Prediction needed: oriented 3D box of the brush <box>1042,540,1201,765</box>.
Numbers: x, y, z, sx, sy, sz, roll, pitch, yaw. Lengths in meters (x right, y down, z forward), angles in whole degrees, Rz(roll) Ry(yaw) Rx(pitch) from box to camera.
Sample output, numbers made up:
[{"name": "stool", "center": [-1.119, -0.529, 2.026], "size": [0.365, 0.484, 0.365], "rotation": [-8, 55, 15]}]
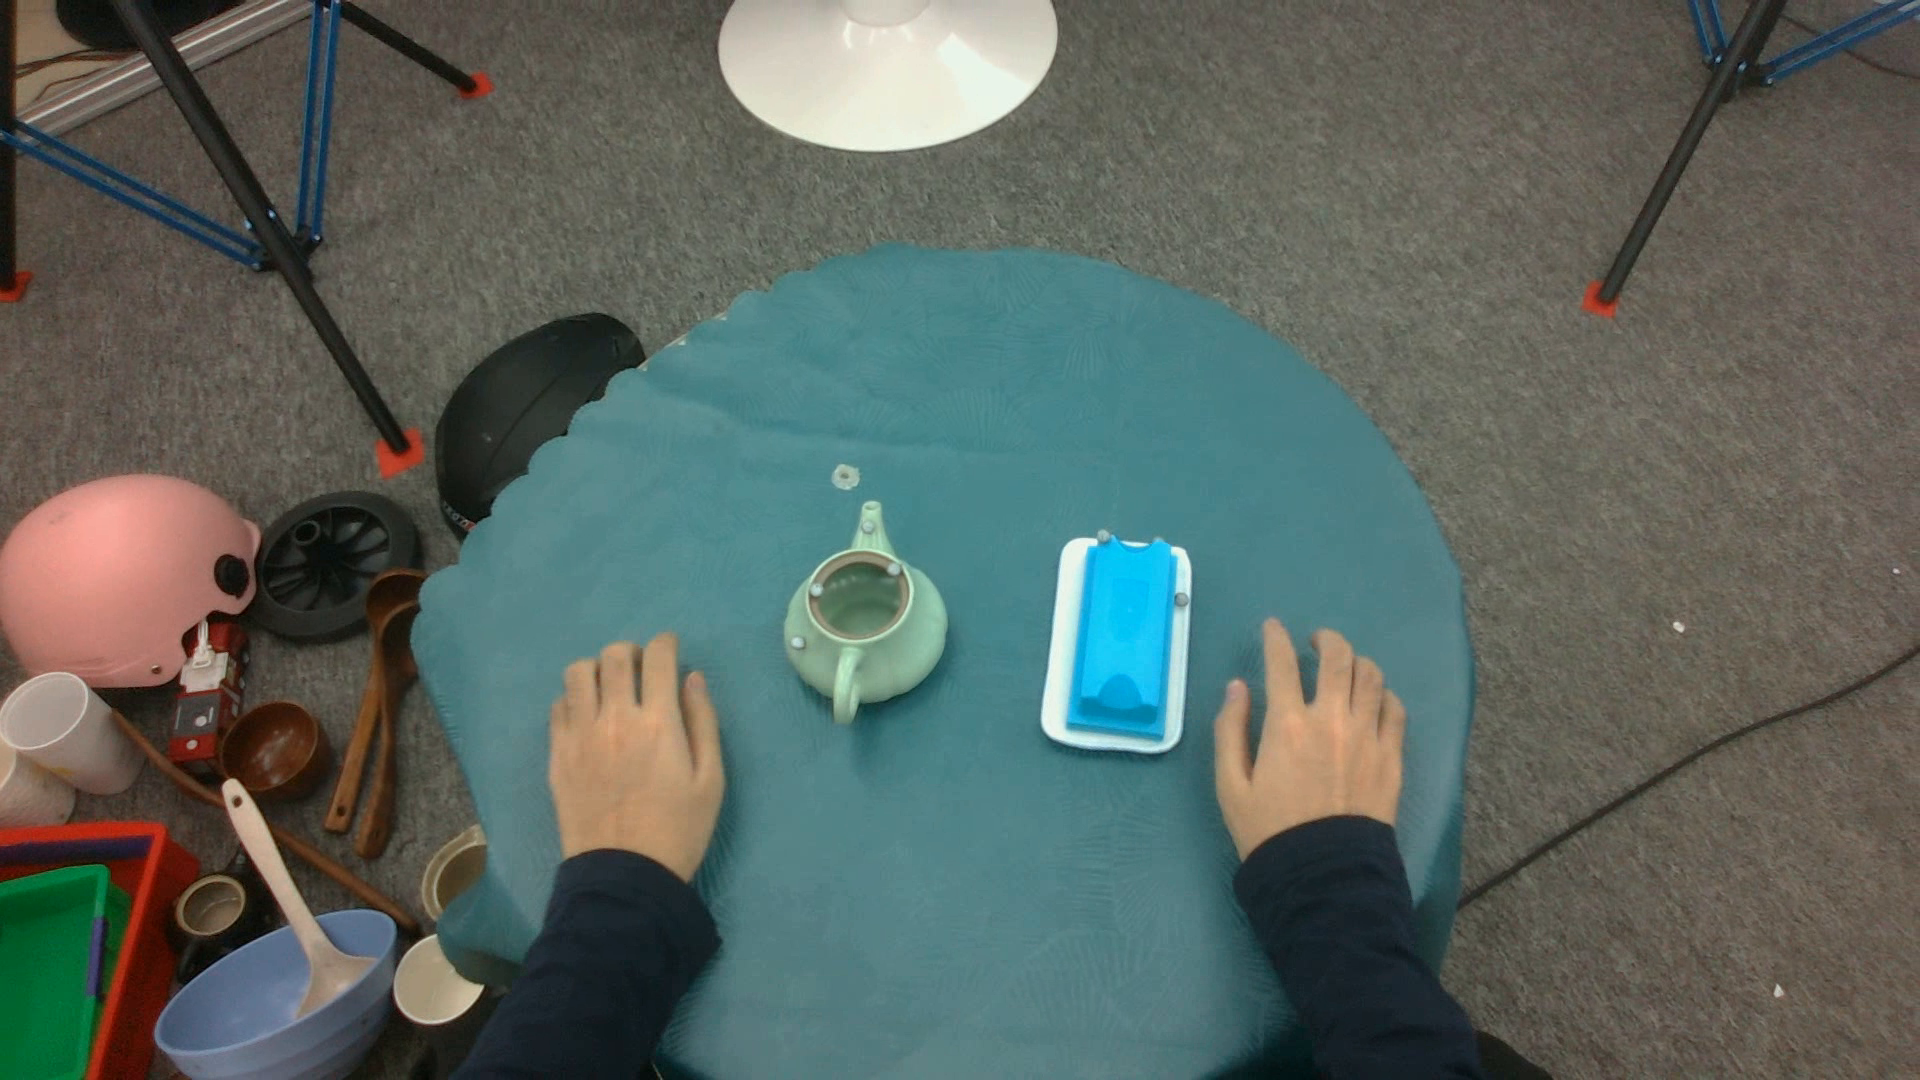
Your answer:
[{"name": "brush", "center": [0.095, 0.057, 0.797], "size": [0.084, 0.055, 0.144], "rotation": [6, 54, 10]}]

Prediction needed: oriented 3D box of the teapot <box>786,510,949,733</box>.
[{"name": "teapot", "center": [-0.056, 0.054, 0.807], "size": [0.096, 0.061, 0.137], "rotation": [2, 56, 3]}]
